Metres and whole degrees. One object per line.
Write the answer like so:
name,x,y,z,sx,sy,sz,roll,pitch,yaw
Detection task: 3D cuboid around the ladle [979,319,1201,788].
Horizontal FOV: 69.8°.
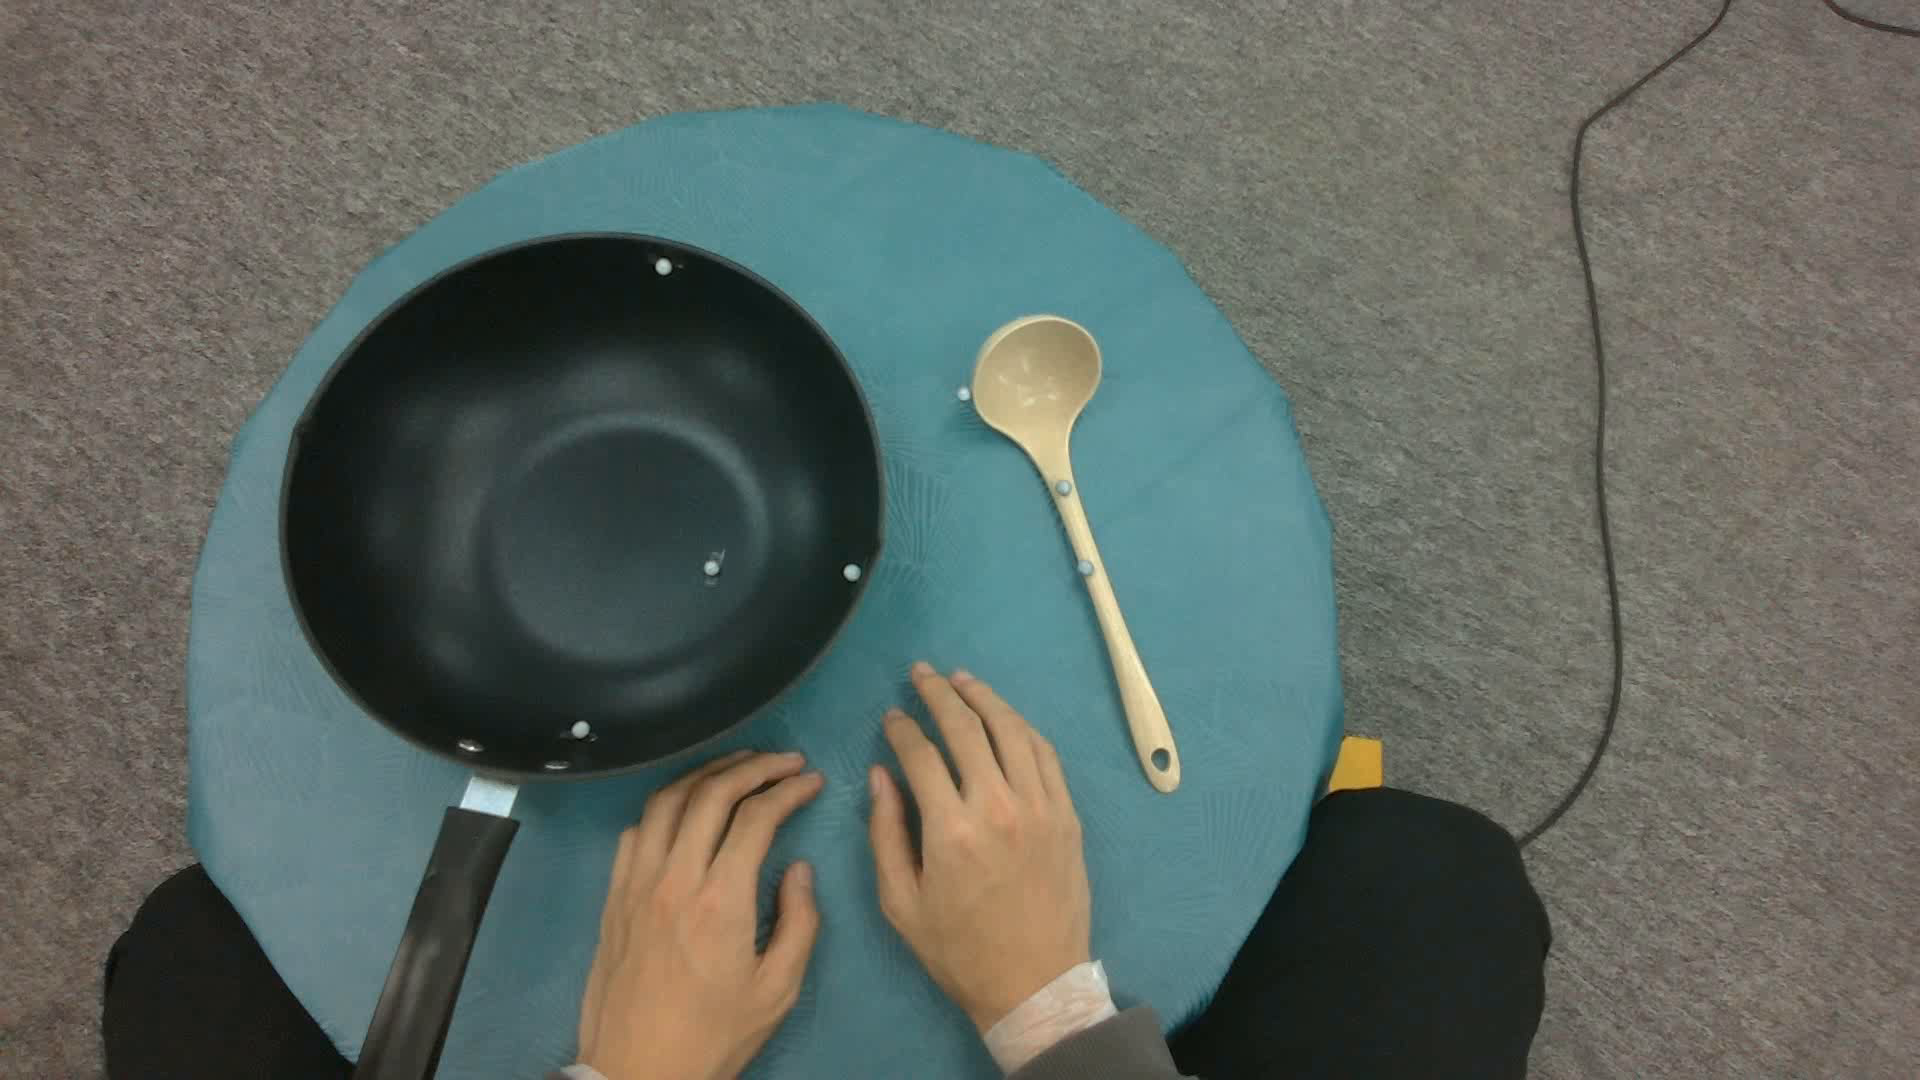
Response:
ladle,0.078,0.001,0.715,0.072,0.072,0.255,-17,70,-11

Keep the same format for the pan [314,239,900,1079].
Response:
pan,-0.192,0.073,0.677,0.288,0.086,0.464,12,72,3
